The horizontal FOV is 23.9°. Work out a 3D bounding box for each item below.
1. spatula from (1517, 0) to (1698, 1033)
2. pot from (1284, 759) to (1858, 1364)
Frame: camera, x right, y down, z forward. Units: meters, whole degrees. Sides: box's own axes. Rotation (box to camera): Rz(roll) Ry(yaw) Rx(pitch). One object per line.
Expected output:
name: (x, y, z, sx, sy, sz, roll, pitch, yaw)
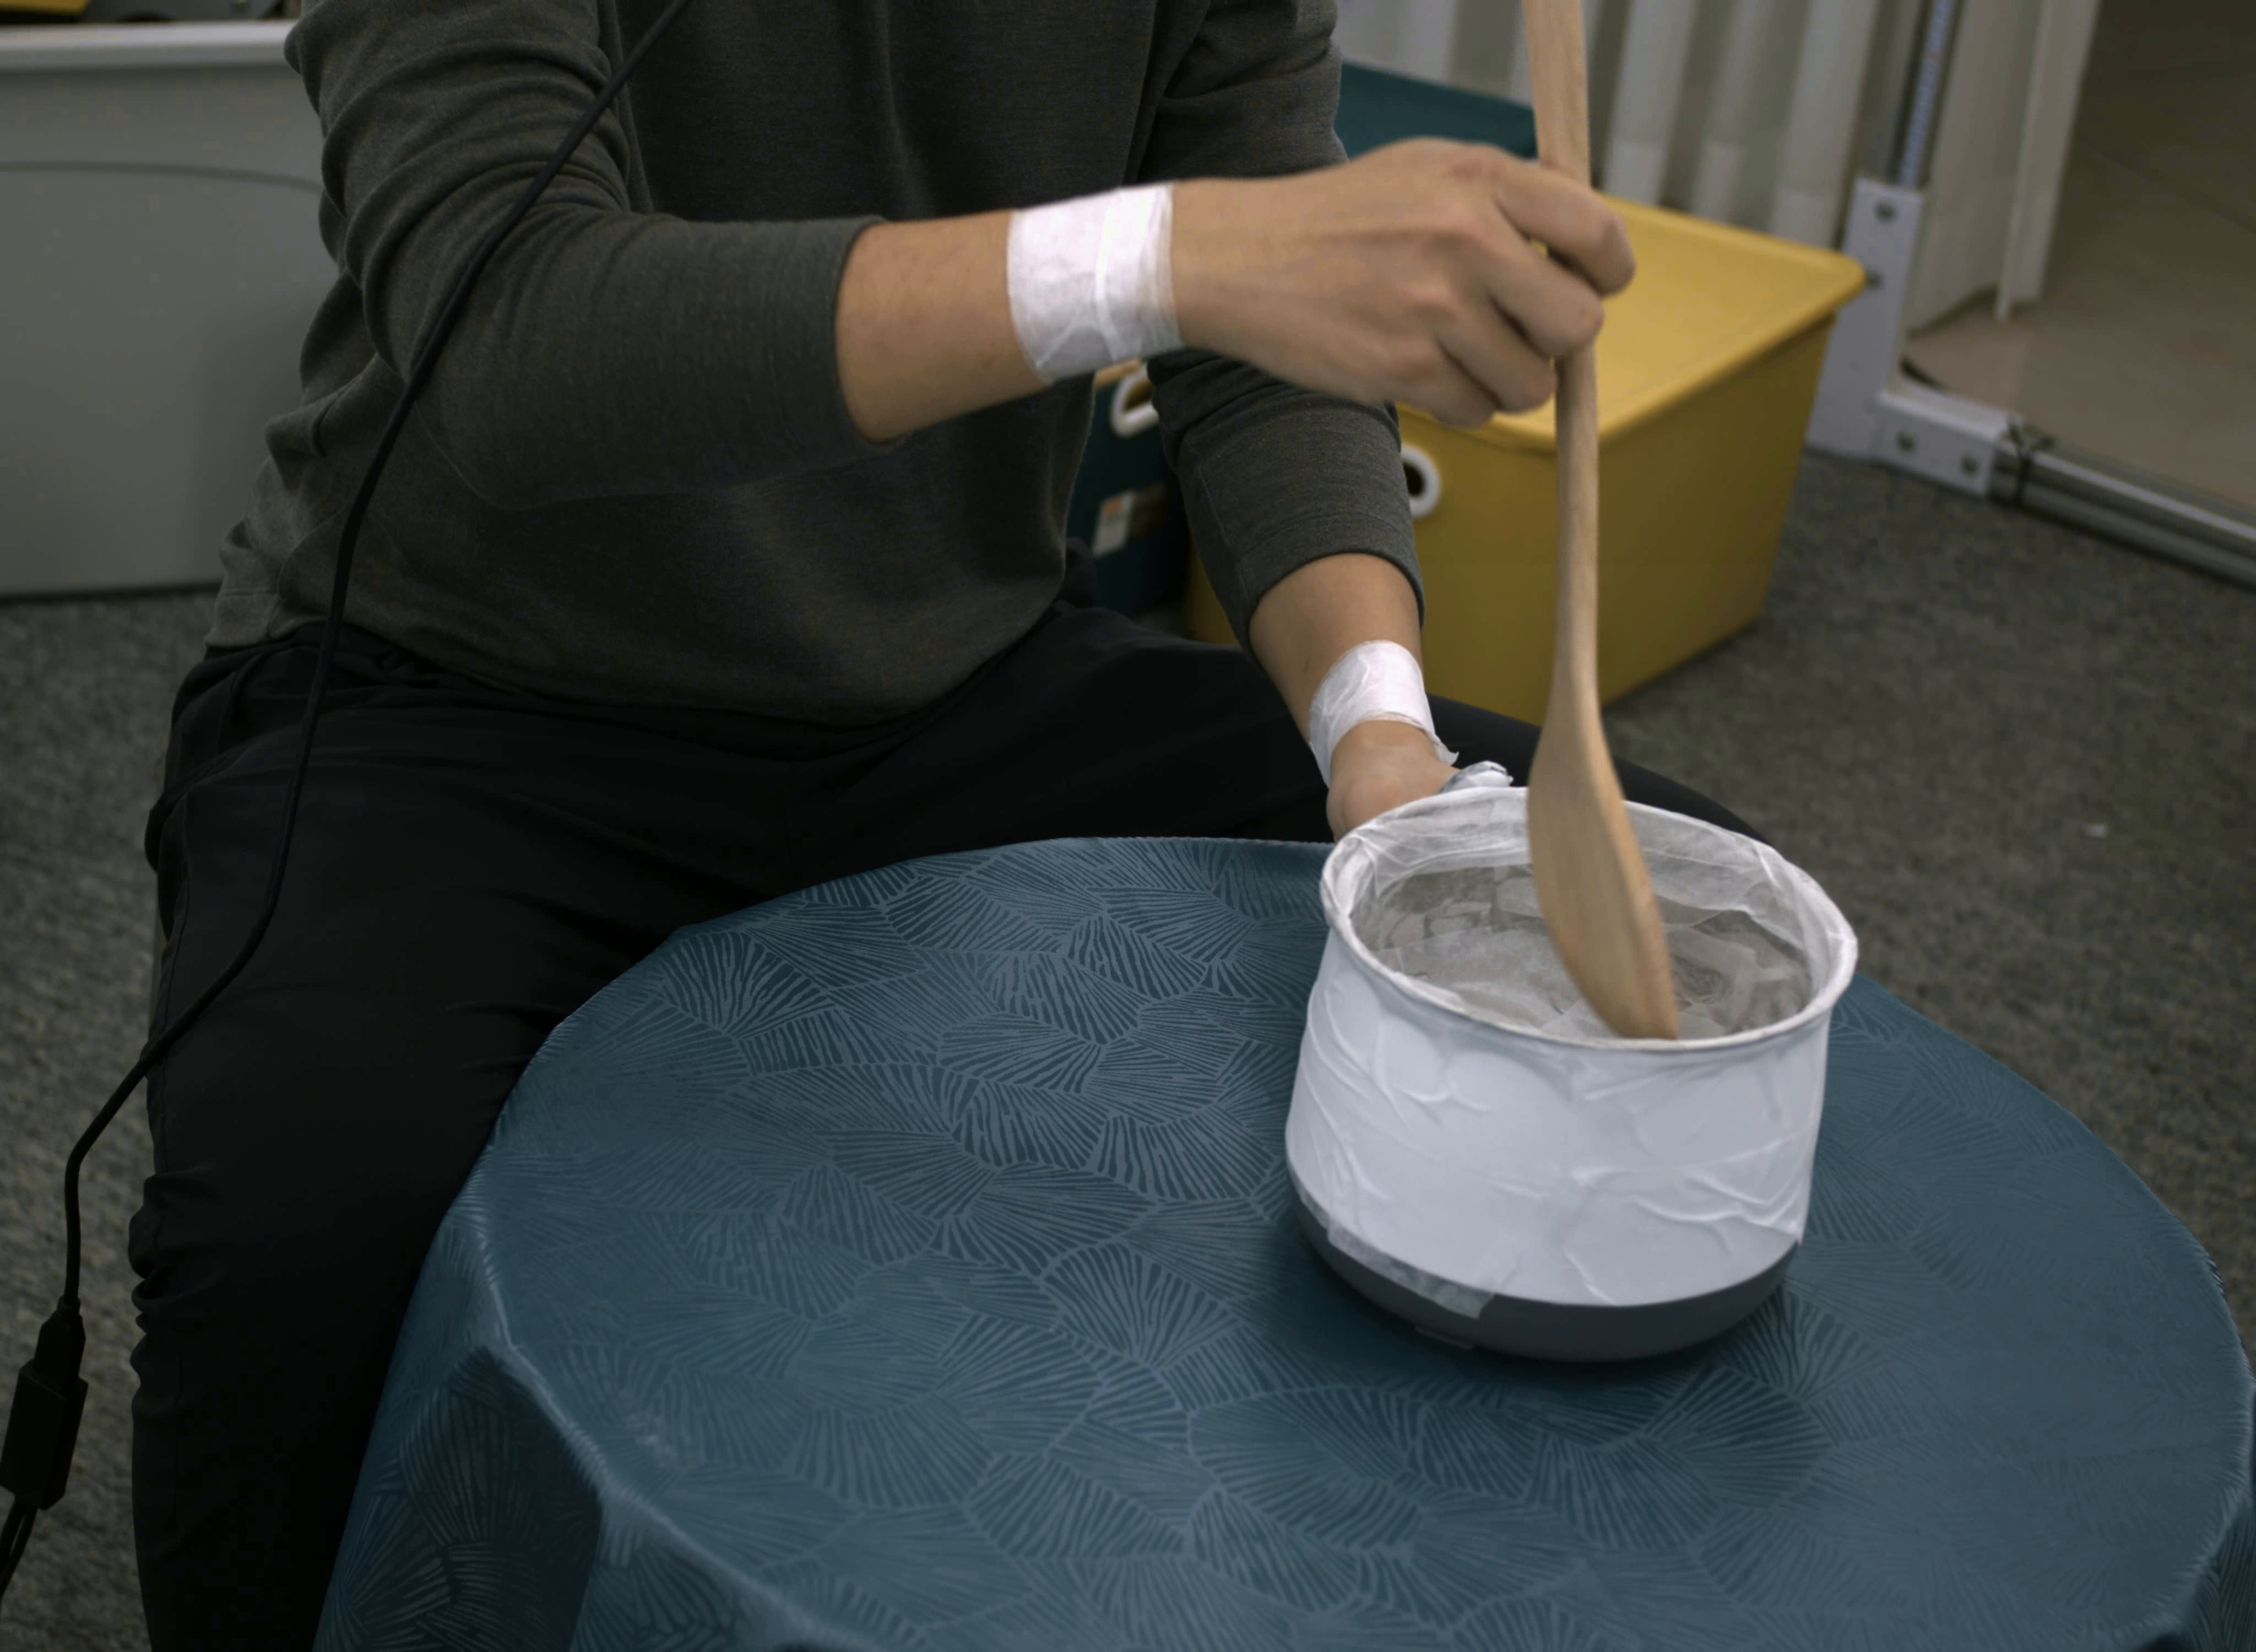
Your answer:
spatula: (0.140, -0.122, 1.651, 0.018, 0.390, 0.096, -10, 17, -18)
pot: (0.135, 0.071, 1.788, 0.177, 0.136, 0.236, -2, 28, -18)
